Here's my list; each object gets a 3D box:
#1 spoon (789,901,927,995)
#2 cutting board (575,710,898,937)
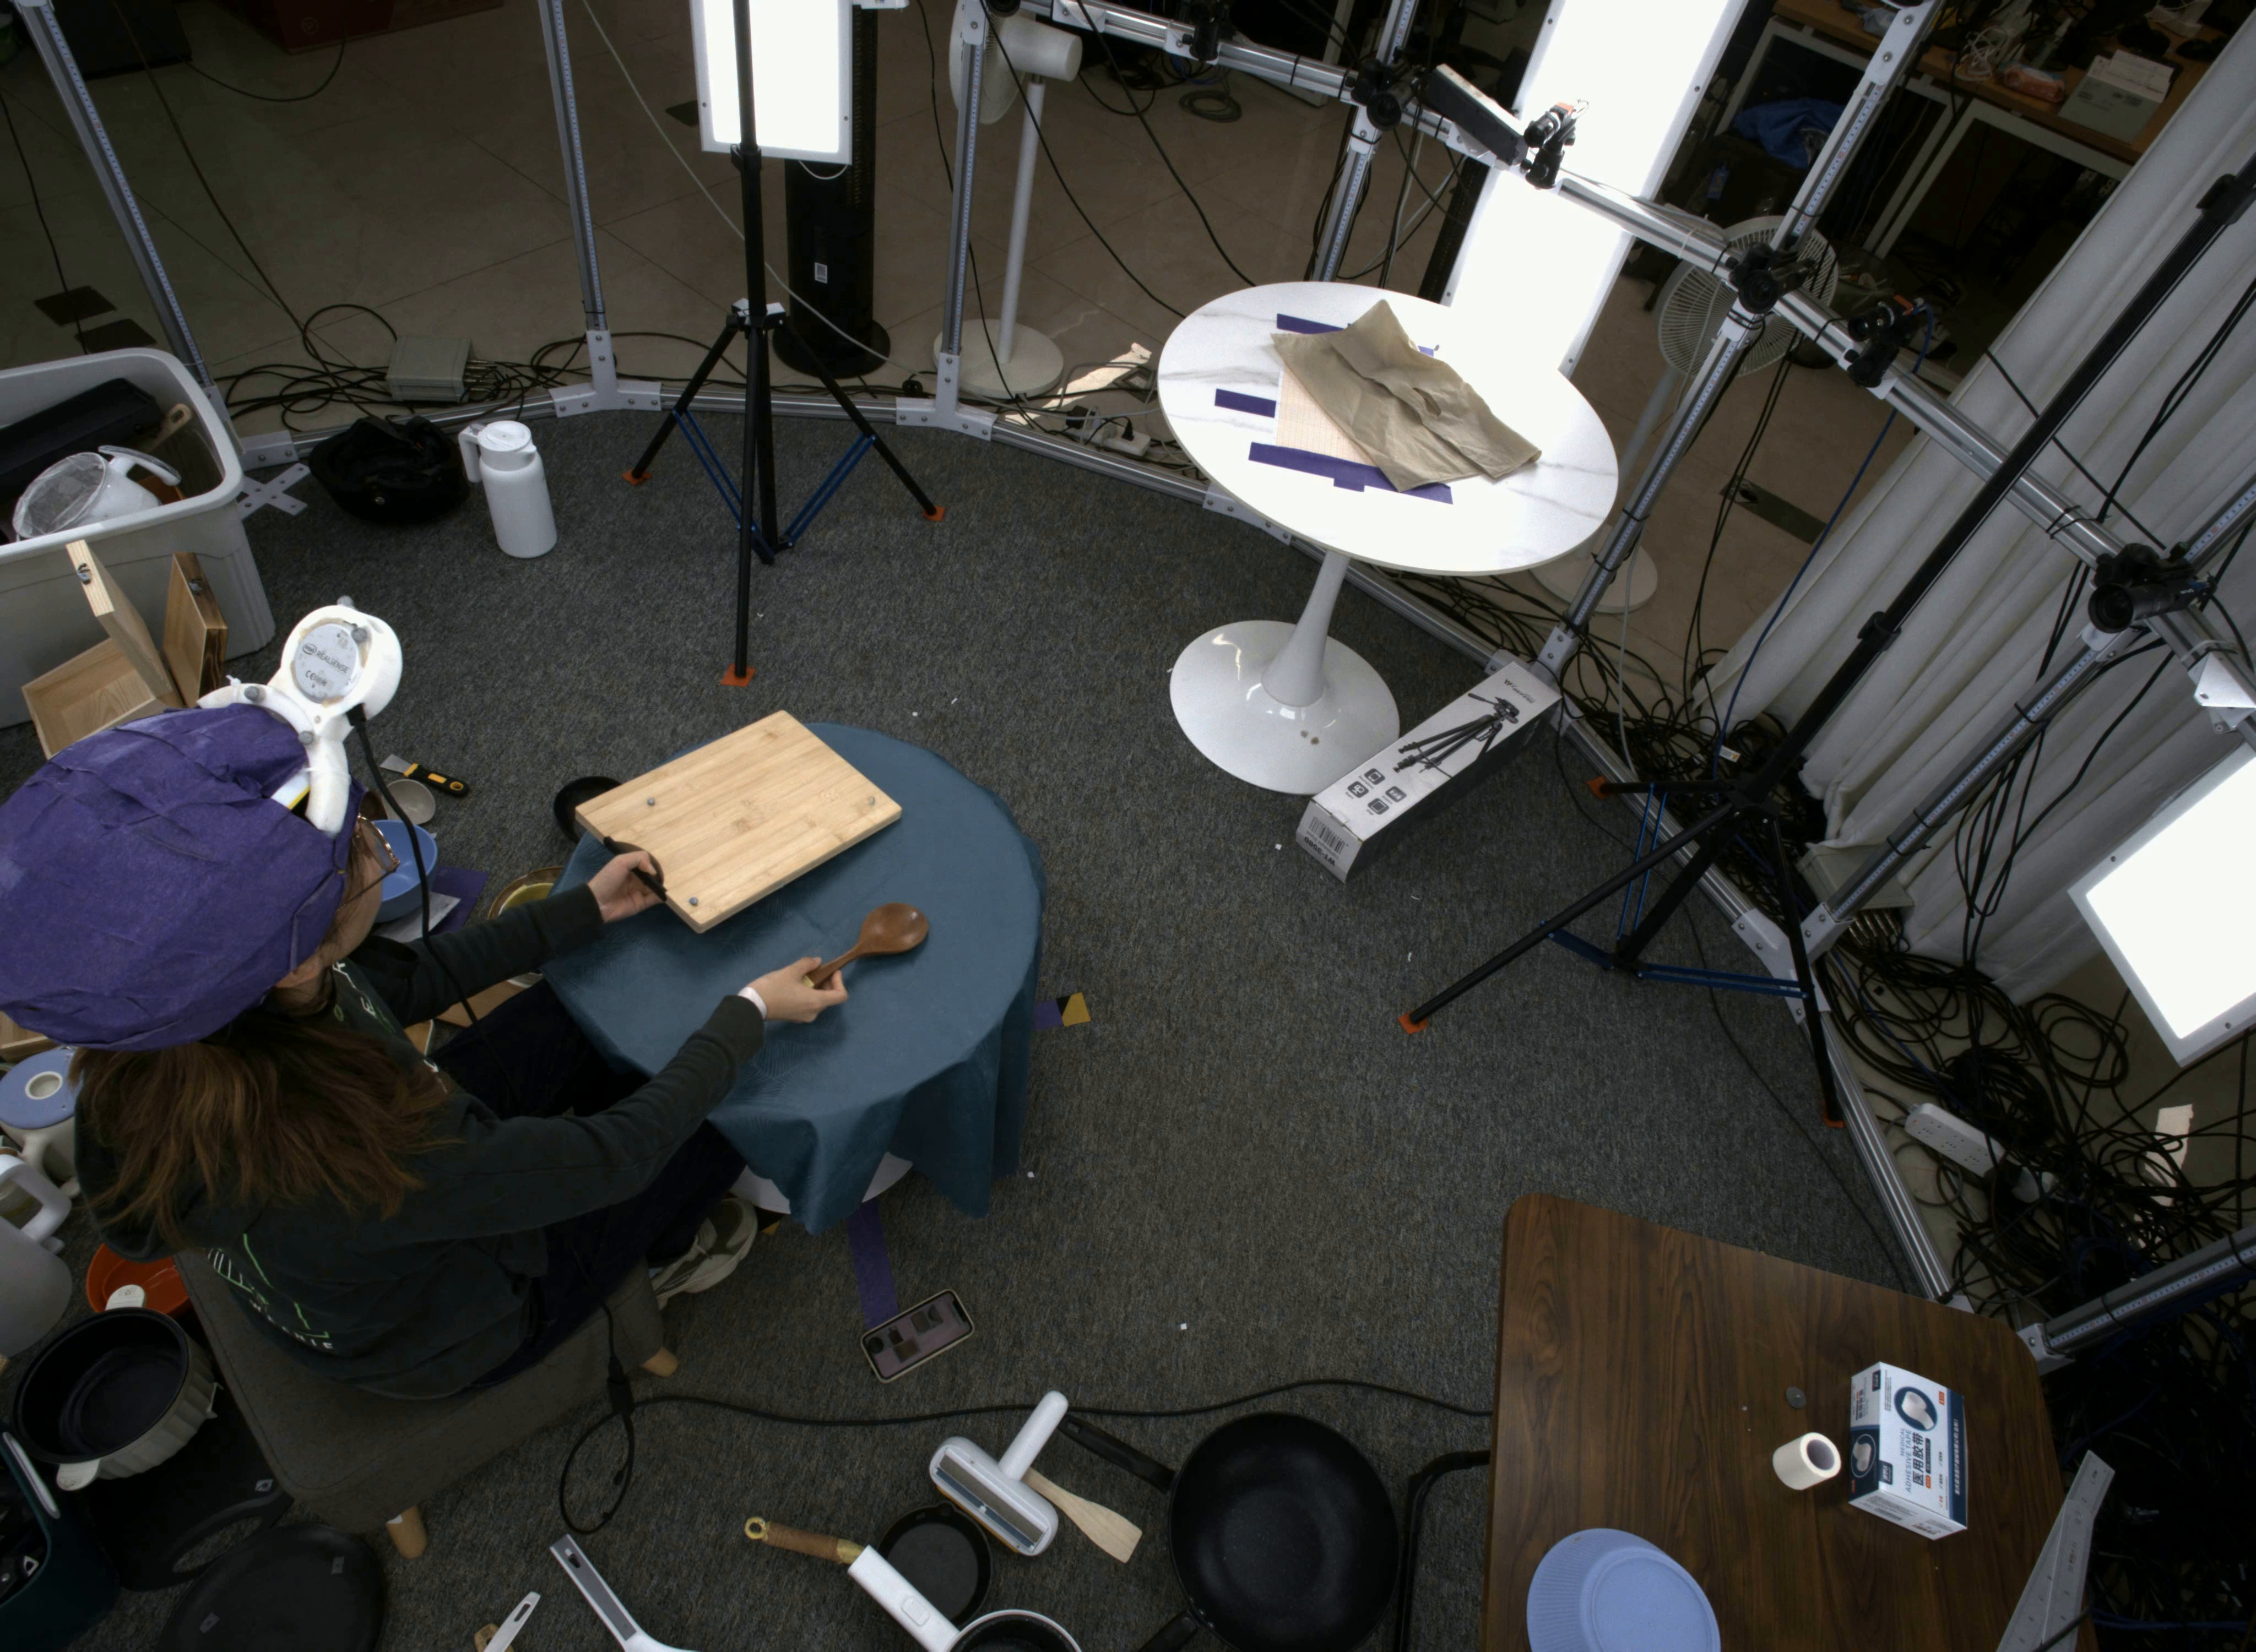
[{"bbox_3d":[-0.333,0.151,1.603,0.074,0.017,0.217,42,40,14],"label":"spoon"},{"bbox_3d":[-0.501,-0.015,1.669,0.245,0.024,0.349,38,43,15],"label":"cutting board"}]
